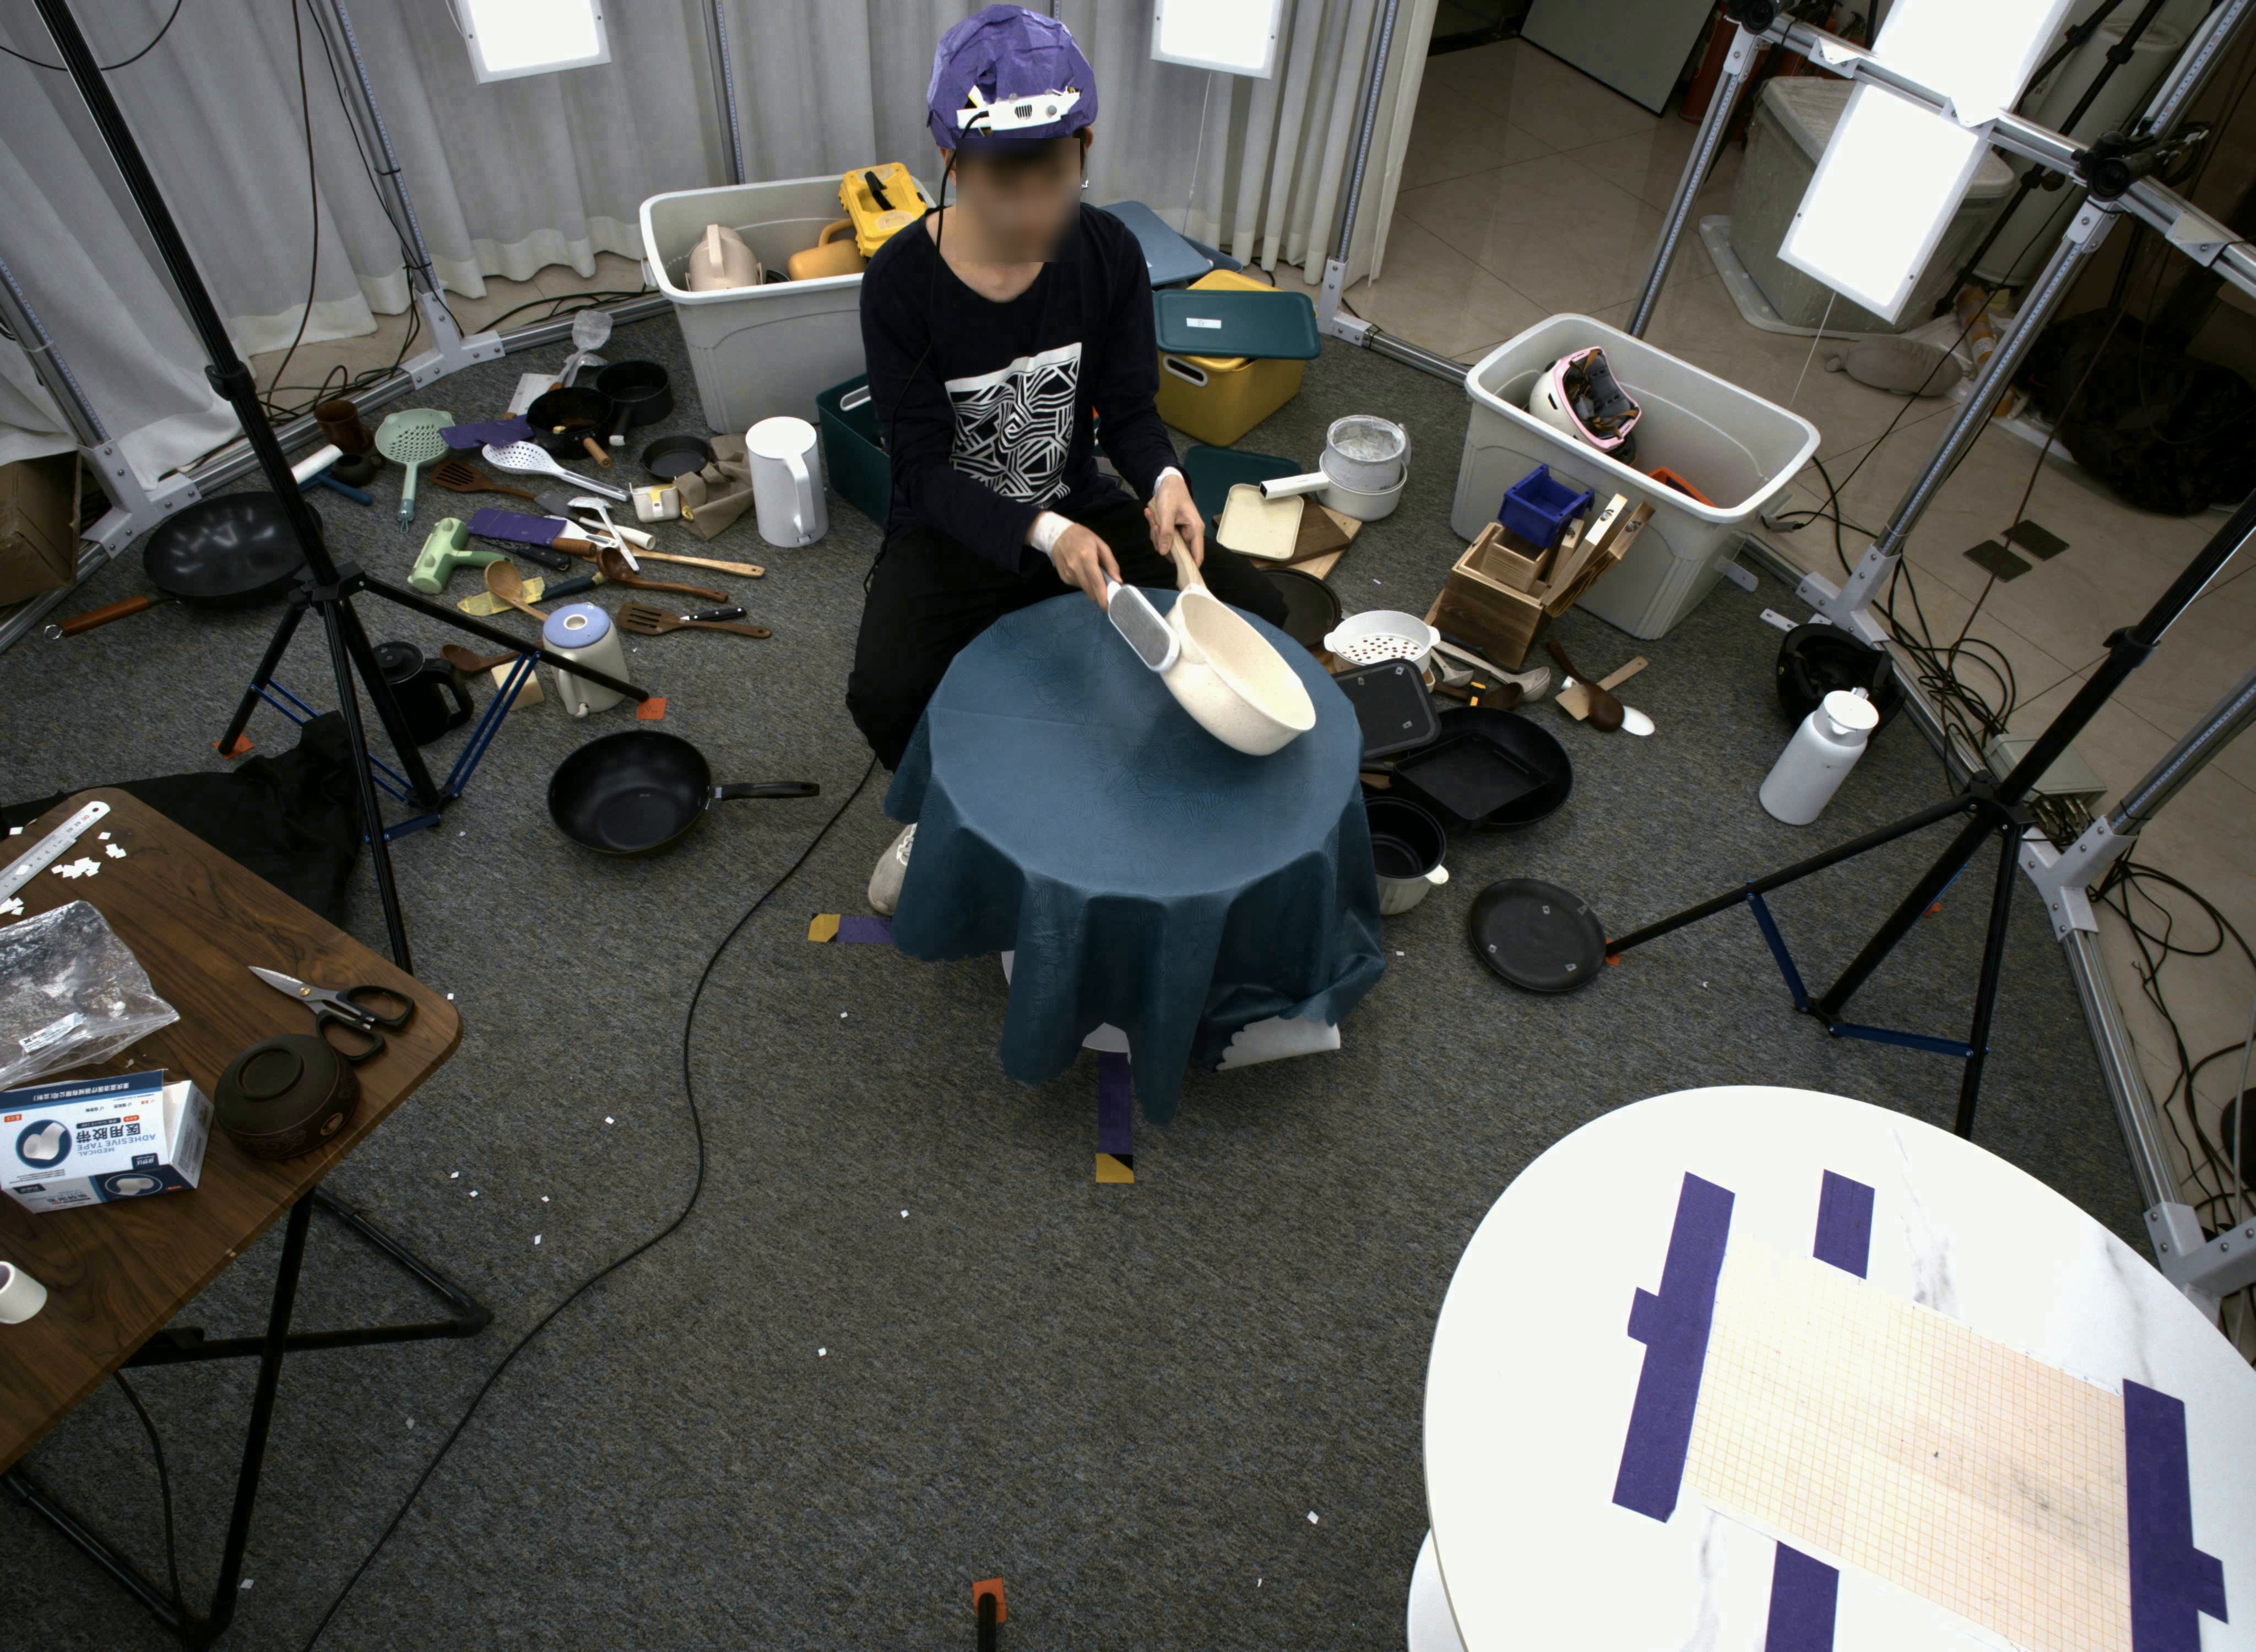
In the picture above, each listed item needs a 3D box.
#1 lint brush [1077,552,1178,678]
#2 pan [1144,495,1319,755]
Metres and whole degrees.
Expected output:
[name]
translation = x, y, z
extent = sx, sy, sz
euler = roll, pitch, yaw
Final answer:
[lint brush]
translation = -0.006, -0.293, 1.727
extent = 0.021, 0.059, 0.316
euler = 11, 30, -34
[pan]
translation = 0.102, -0.276, 1.776
extent = 0.261, 0.100, 0.444
euler = 7, 46, -46
